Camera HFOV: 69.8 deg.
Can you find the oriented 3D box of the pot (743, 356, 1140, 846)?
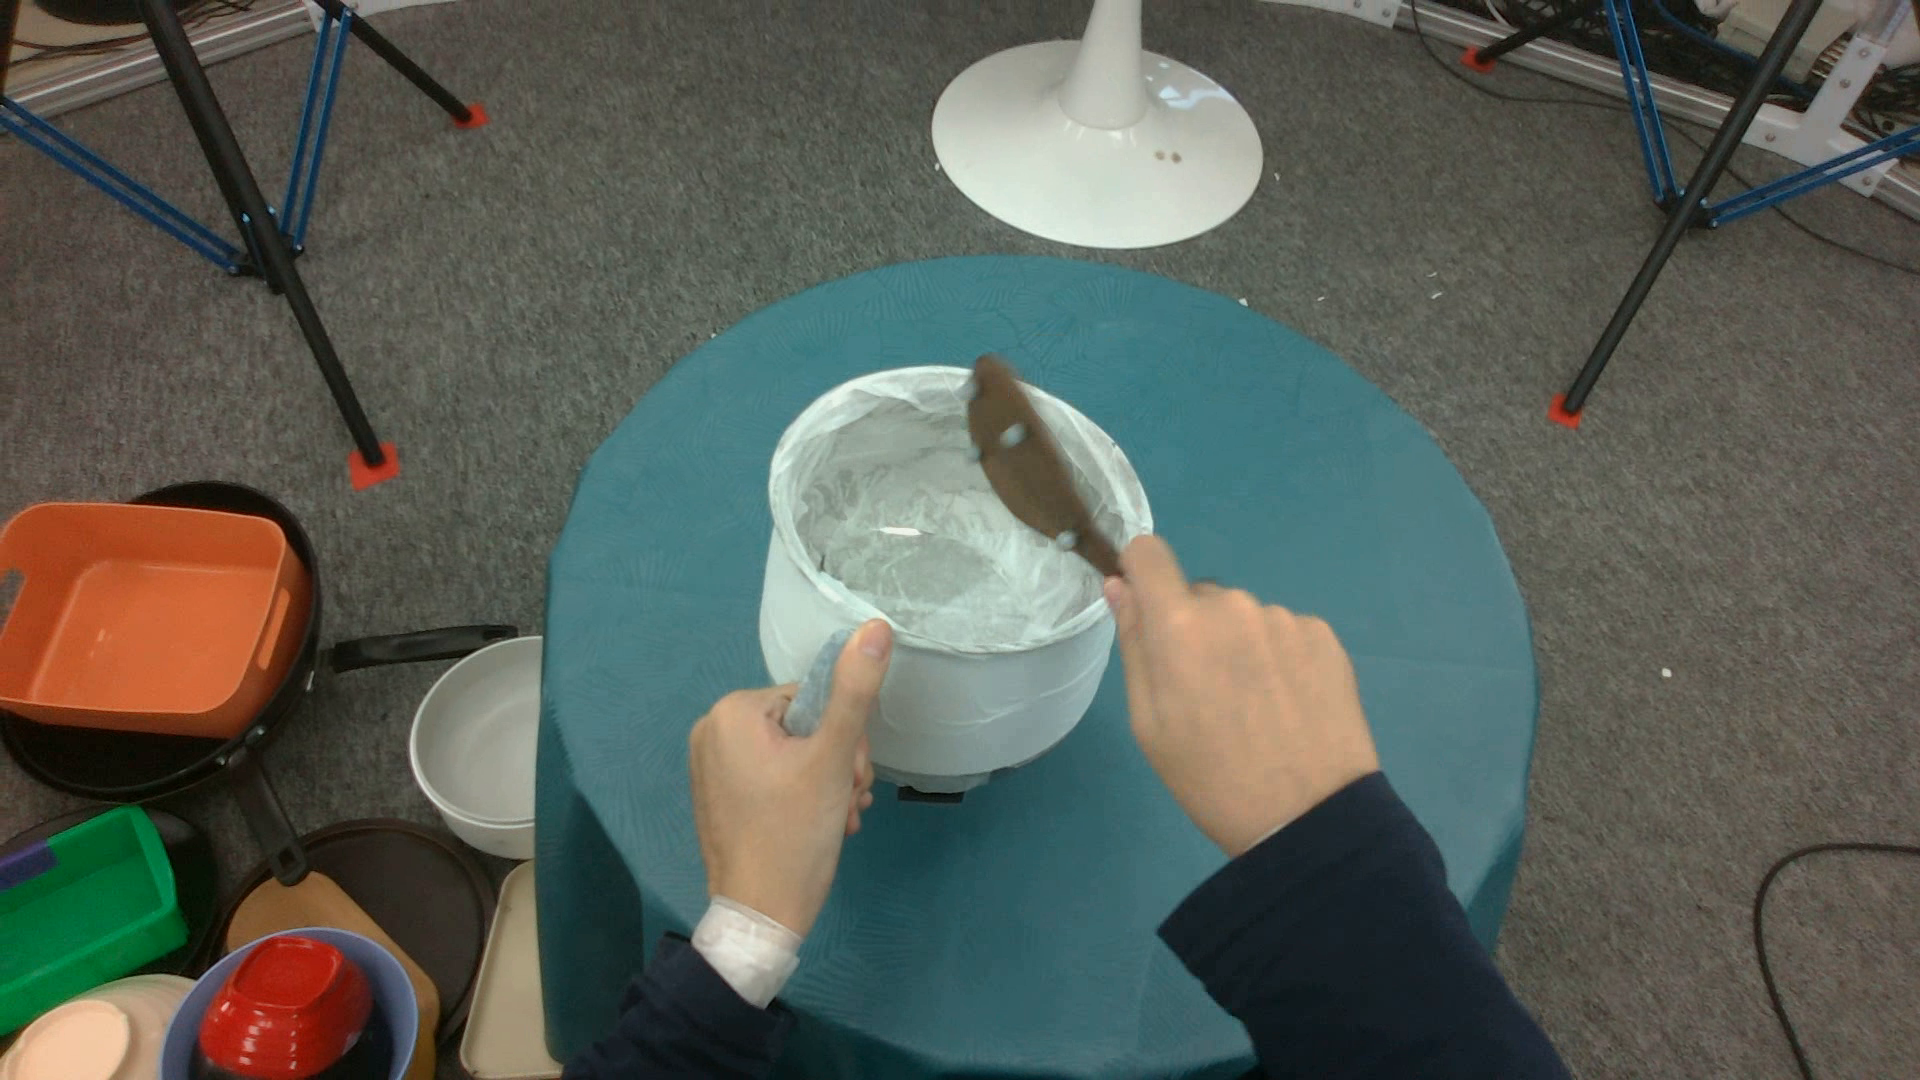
[{"bbox_3d":[-0.025,0.033,0.656,0.178,0.136,0.235,24,47,12],"label":"pot"}]

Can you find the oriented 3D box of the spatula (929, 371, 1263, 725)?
[{"bbox_3d":[0.050,0.003,0.571,0.009,0.071,0.216,-37,58,-12],"label":"spatula"}]
